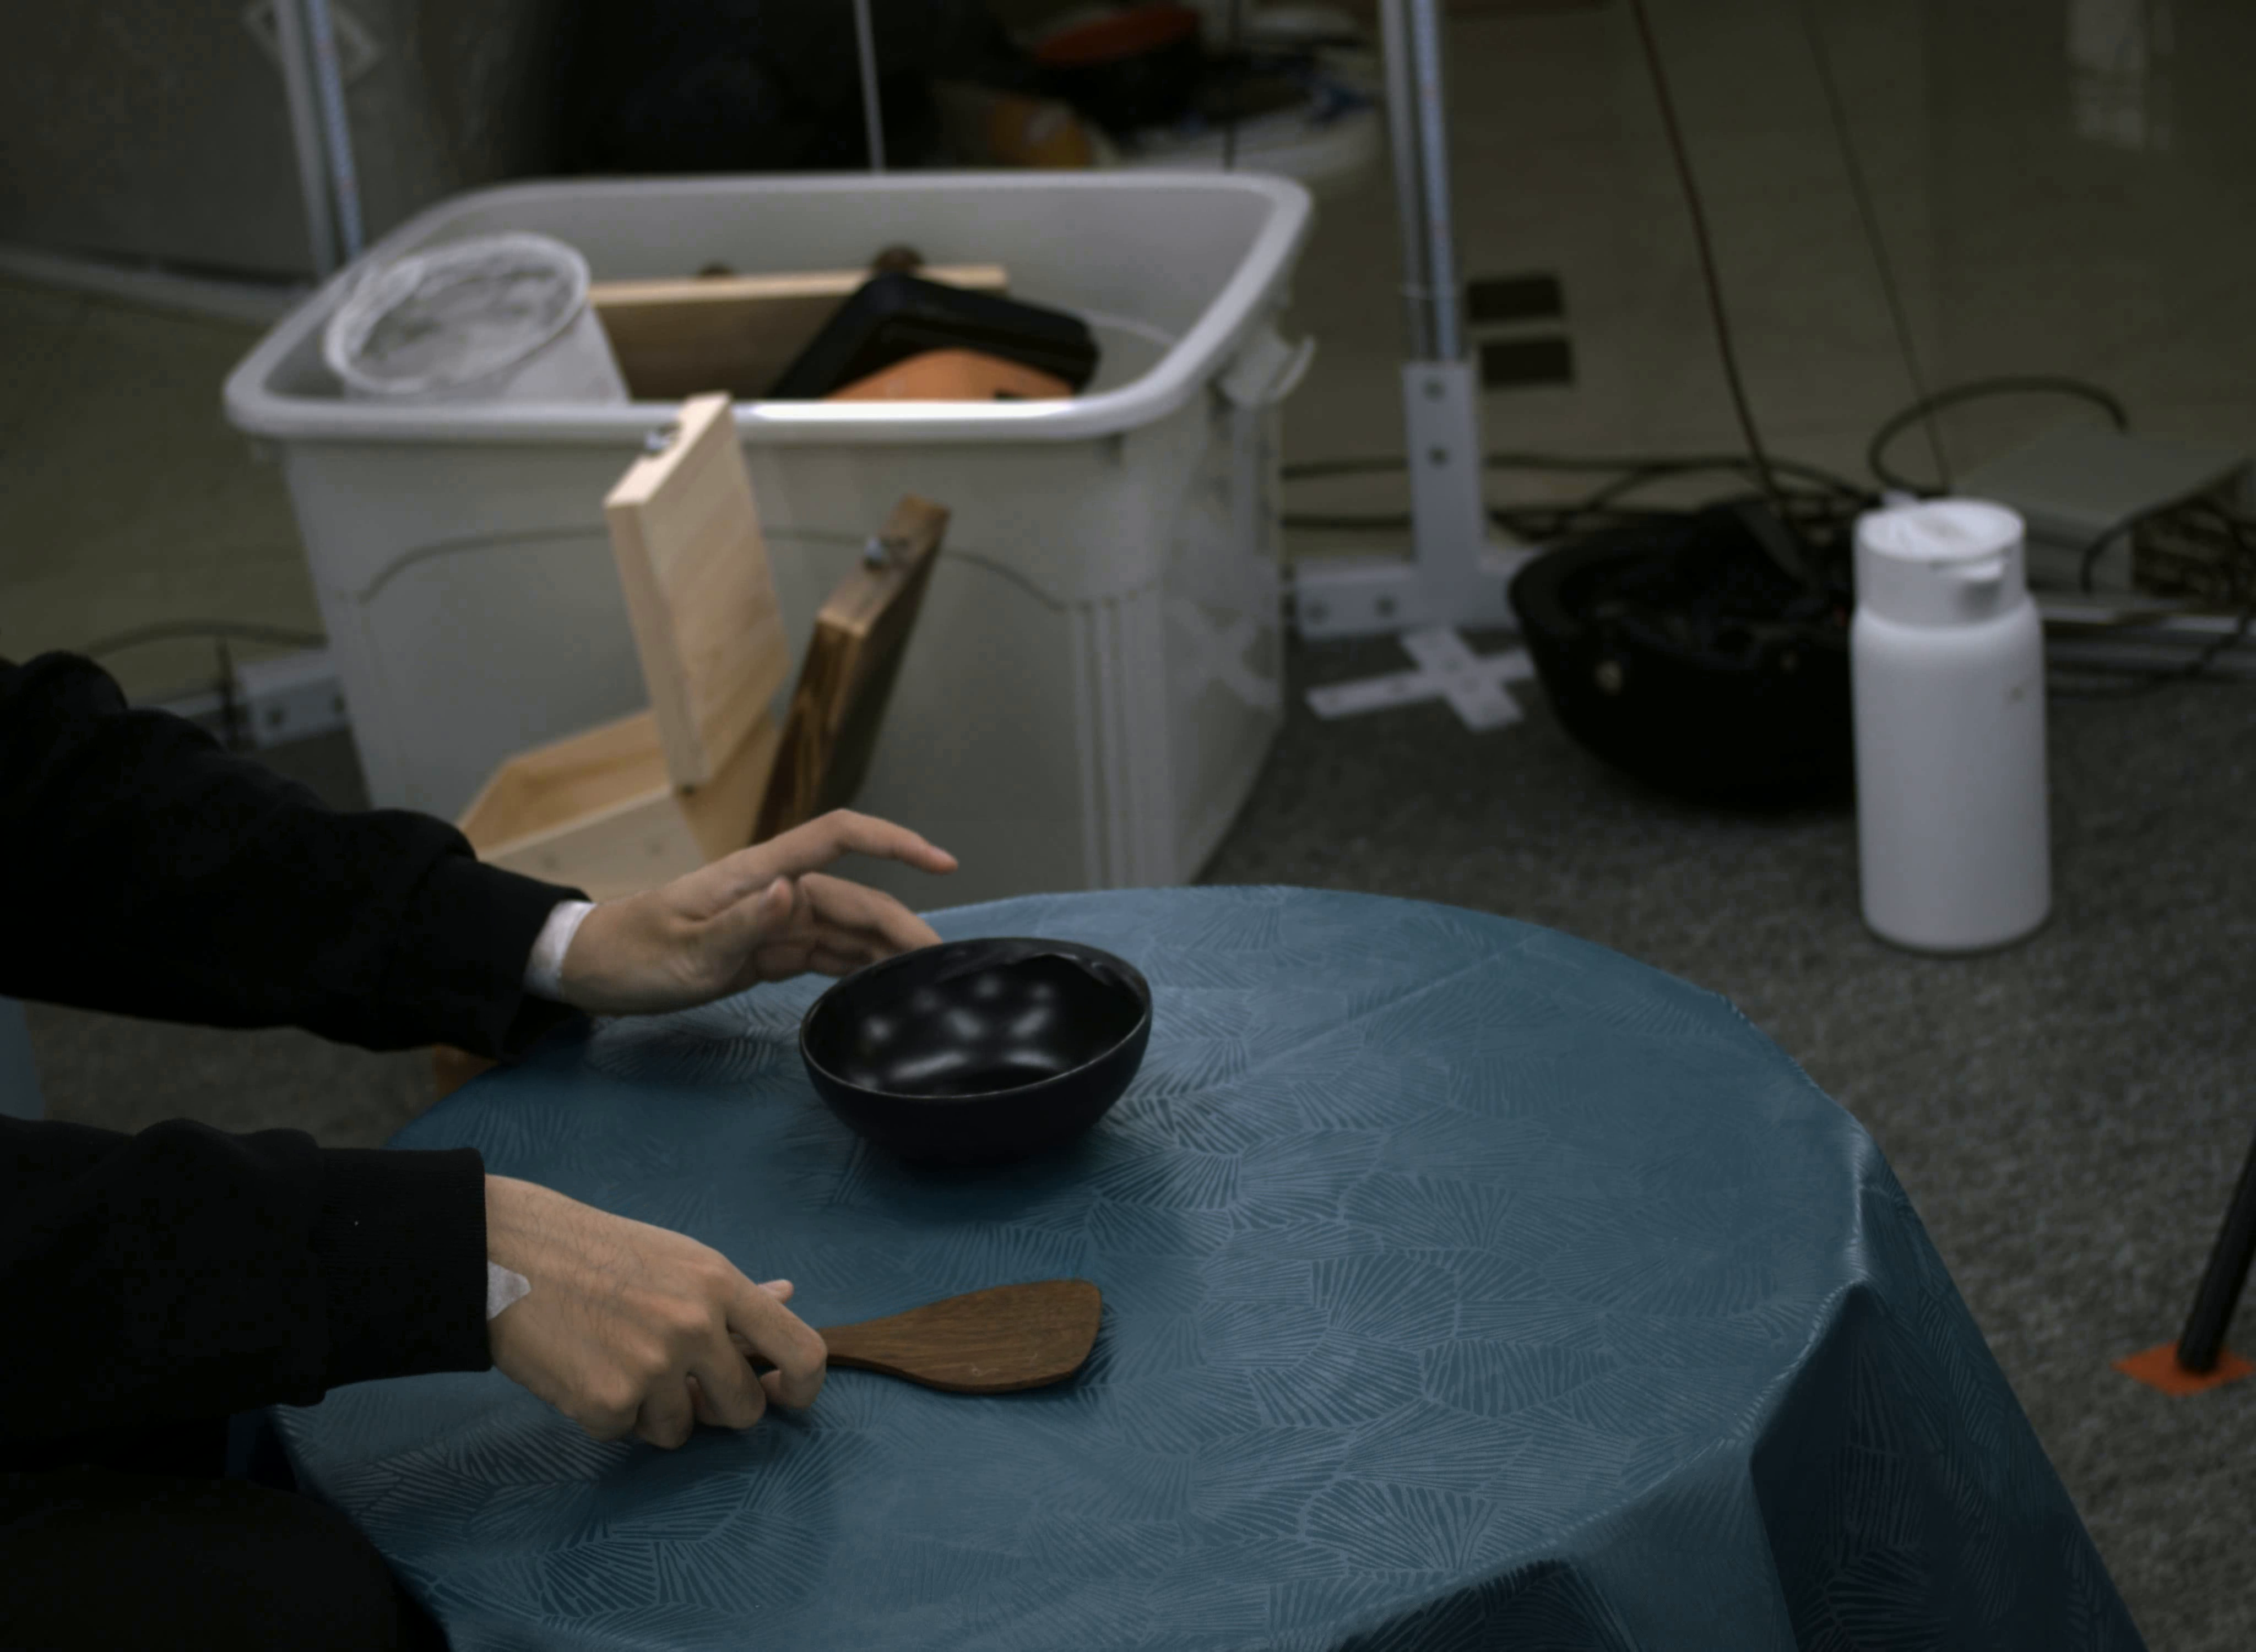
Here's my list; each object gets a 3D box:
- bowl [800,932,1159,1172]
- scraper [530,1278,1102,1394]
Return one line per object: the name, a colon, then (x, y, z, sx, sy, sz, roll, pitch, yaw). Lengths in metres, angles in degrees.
bowl: (-0.055, 0.095, 2.204, 0.140, 0.050, 0.138, -6, 28, 3)
scraper: (-0.114, 0.189, 2.063, 0.211, 0.011, 0.075, -3, 23, 7)
